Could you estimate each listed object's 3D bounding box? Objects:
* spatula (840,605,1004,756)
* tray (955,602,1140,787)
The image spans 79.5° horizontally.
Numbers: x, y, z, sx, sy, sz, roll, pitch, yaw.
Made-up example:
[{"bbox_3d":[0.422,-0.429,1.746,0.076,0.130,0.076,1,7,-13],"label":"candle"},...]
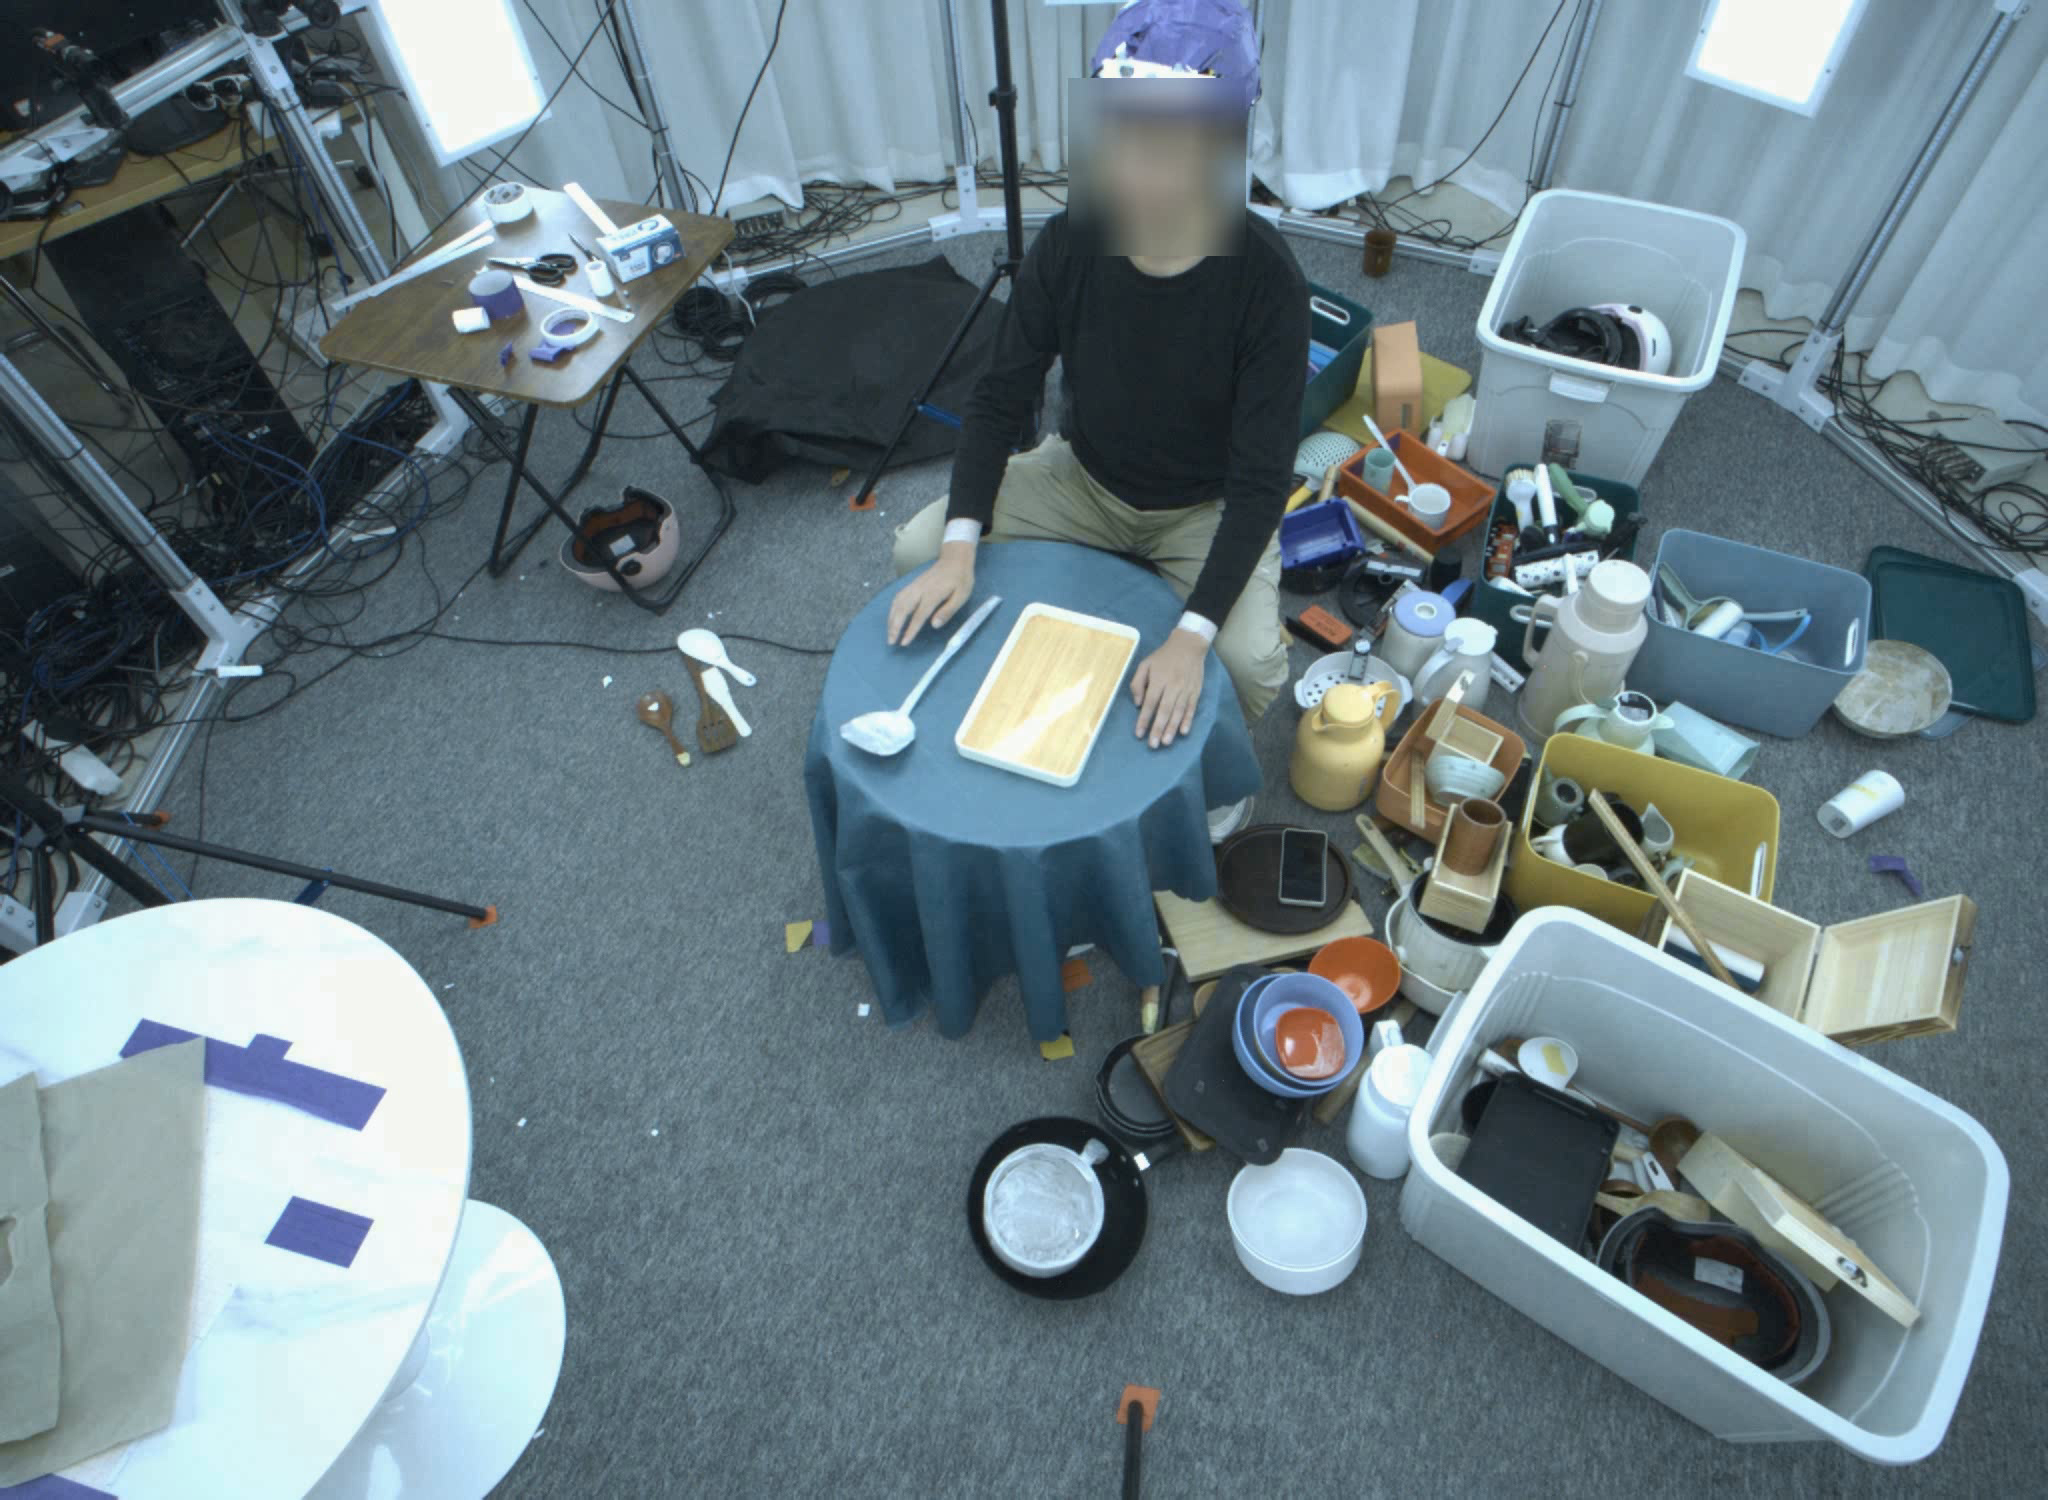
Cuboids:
[{"bbox_3d":[-0.138,-0.119,1.853,0.097,0.045,0.366,25,60,19],"label":"spatula"},{"bbox_3d":[0.039,-0.089,1.833,0.189,0.028,0.300,18,57,14],"label":"tray"}]
